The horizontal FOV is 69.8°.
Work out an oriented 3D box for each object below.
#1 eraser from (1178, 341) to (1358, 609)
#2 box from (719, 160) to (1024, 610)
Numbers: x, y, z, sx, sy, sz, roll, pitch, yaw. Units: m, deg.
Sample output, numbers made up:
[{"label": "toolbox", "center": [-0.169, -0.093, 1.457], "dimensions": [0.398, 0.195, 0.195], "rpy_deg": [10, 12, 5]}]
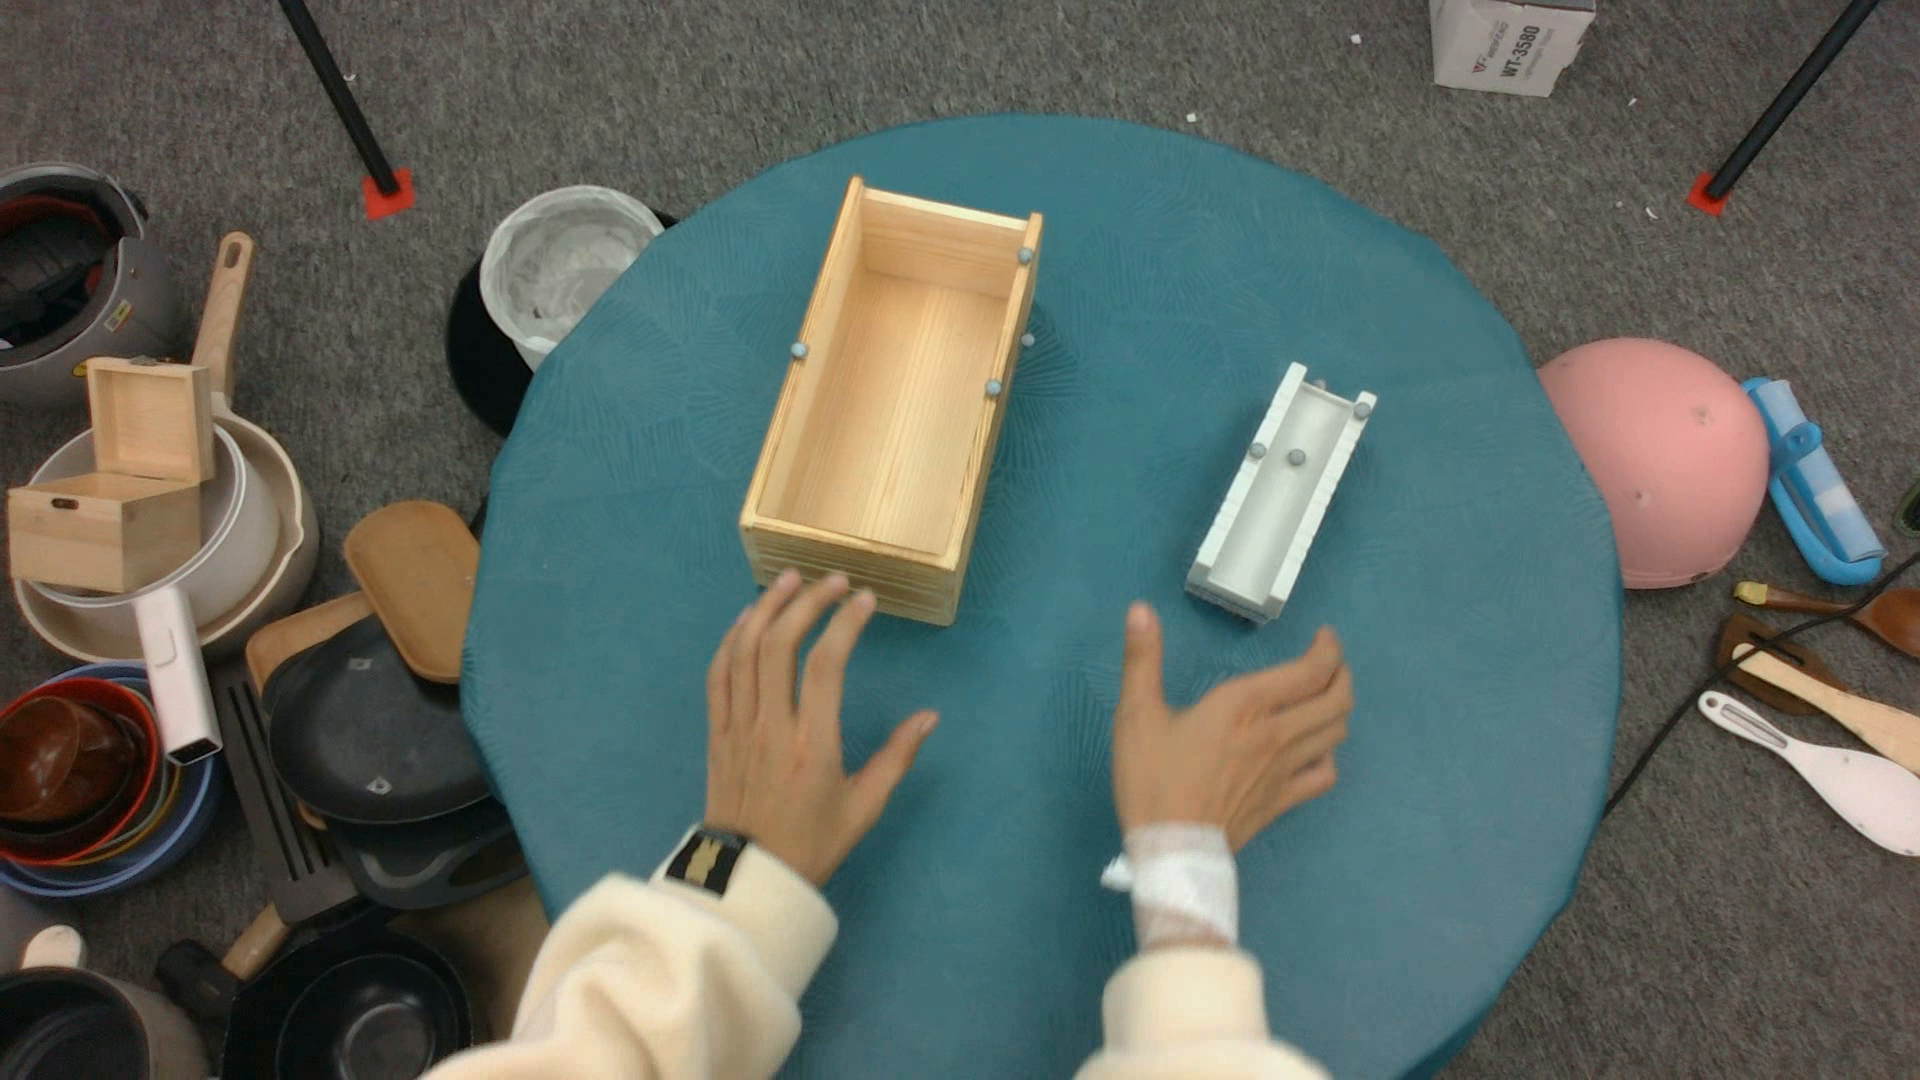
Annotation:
[{"label": "eraser", "center": [0.160, -0.034, 0.722], "dimensions": [0.050, 0.046, 0.135], "rpy_deg": [24, 66, 6]}, {"label": "box", "center": [-0.040, -0.083, 0.717], "dimensions": [0.107, 0.080, 0.212], "rpy_deg": [11, 65, 3]}]
